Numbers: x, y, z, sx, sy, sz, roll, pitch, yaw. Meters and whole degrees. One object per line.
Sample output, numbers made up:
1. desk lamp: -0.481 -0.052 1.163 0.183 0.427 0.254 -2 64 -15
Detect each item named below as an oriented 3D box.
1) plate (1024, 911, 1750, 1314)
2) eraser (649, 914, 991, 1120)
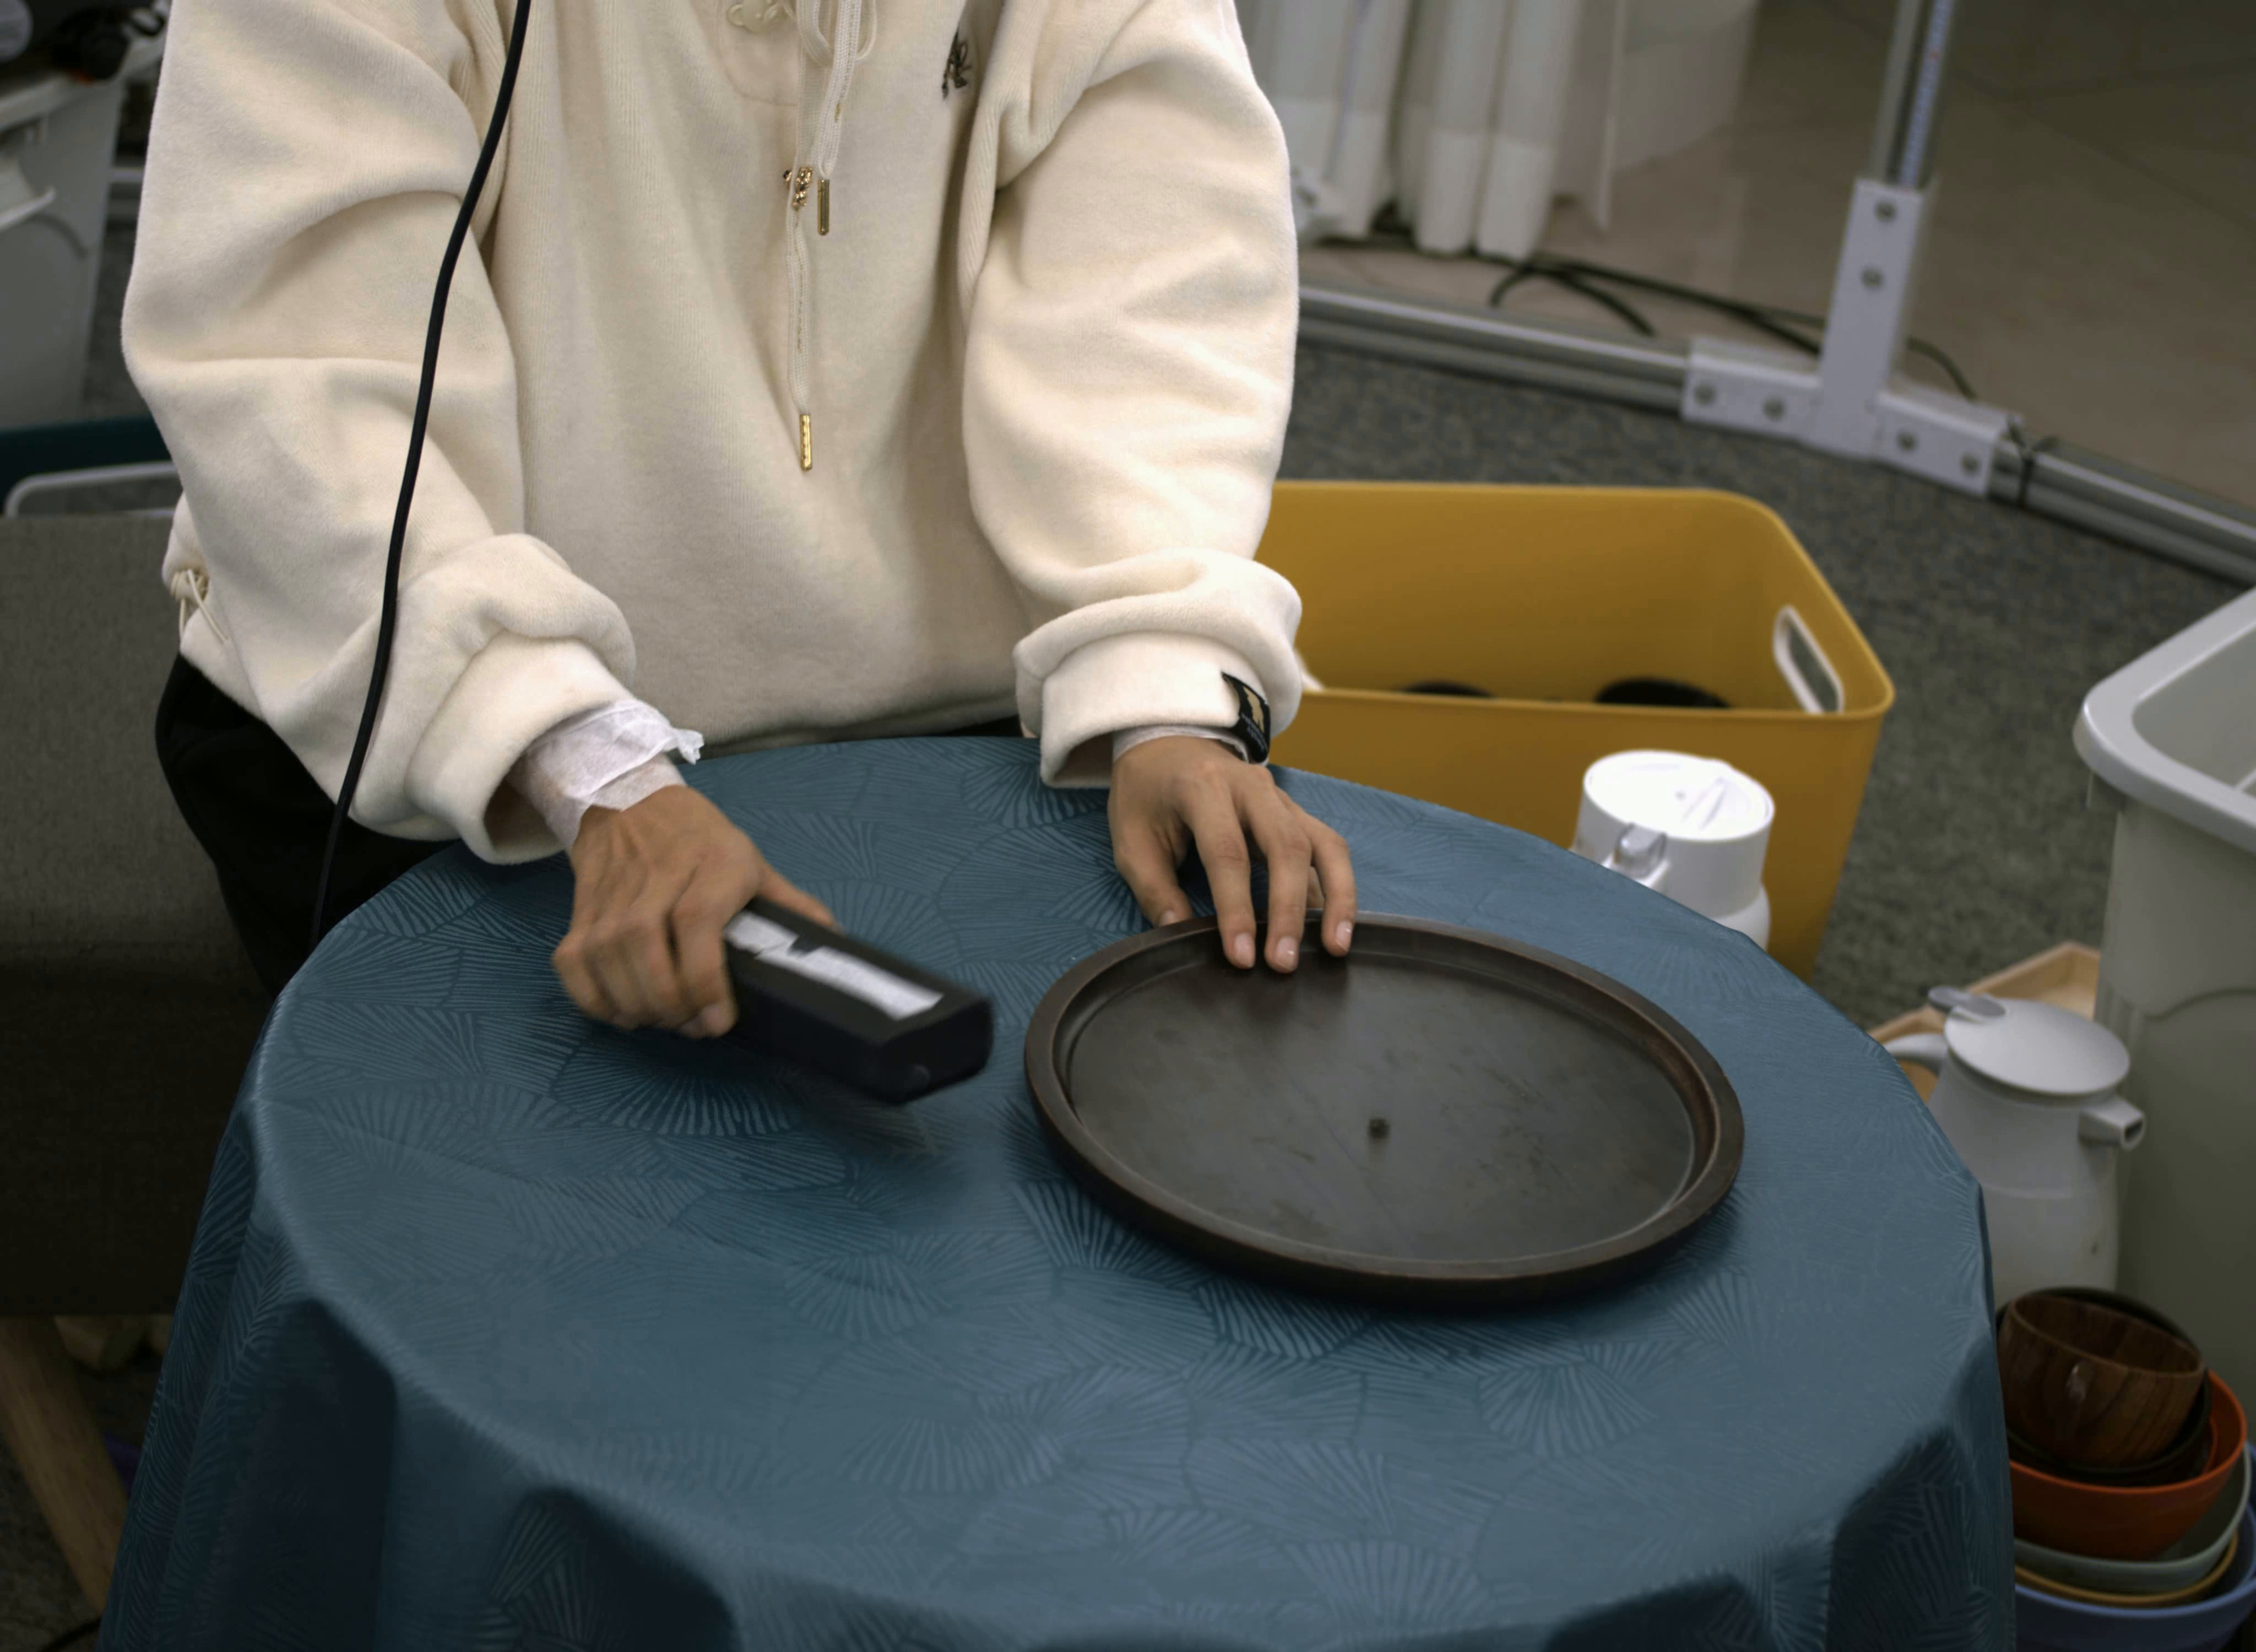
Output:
1. plate: 0.089 0.097 1.847 0.254 0.029 0.256 5 28 -3
2. eraser: -0.106 0.065 1.824 0.053 0.030 0.126 -18 27 -39
